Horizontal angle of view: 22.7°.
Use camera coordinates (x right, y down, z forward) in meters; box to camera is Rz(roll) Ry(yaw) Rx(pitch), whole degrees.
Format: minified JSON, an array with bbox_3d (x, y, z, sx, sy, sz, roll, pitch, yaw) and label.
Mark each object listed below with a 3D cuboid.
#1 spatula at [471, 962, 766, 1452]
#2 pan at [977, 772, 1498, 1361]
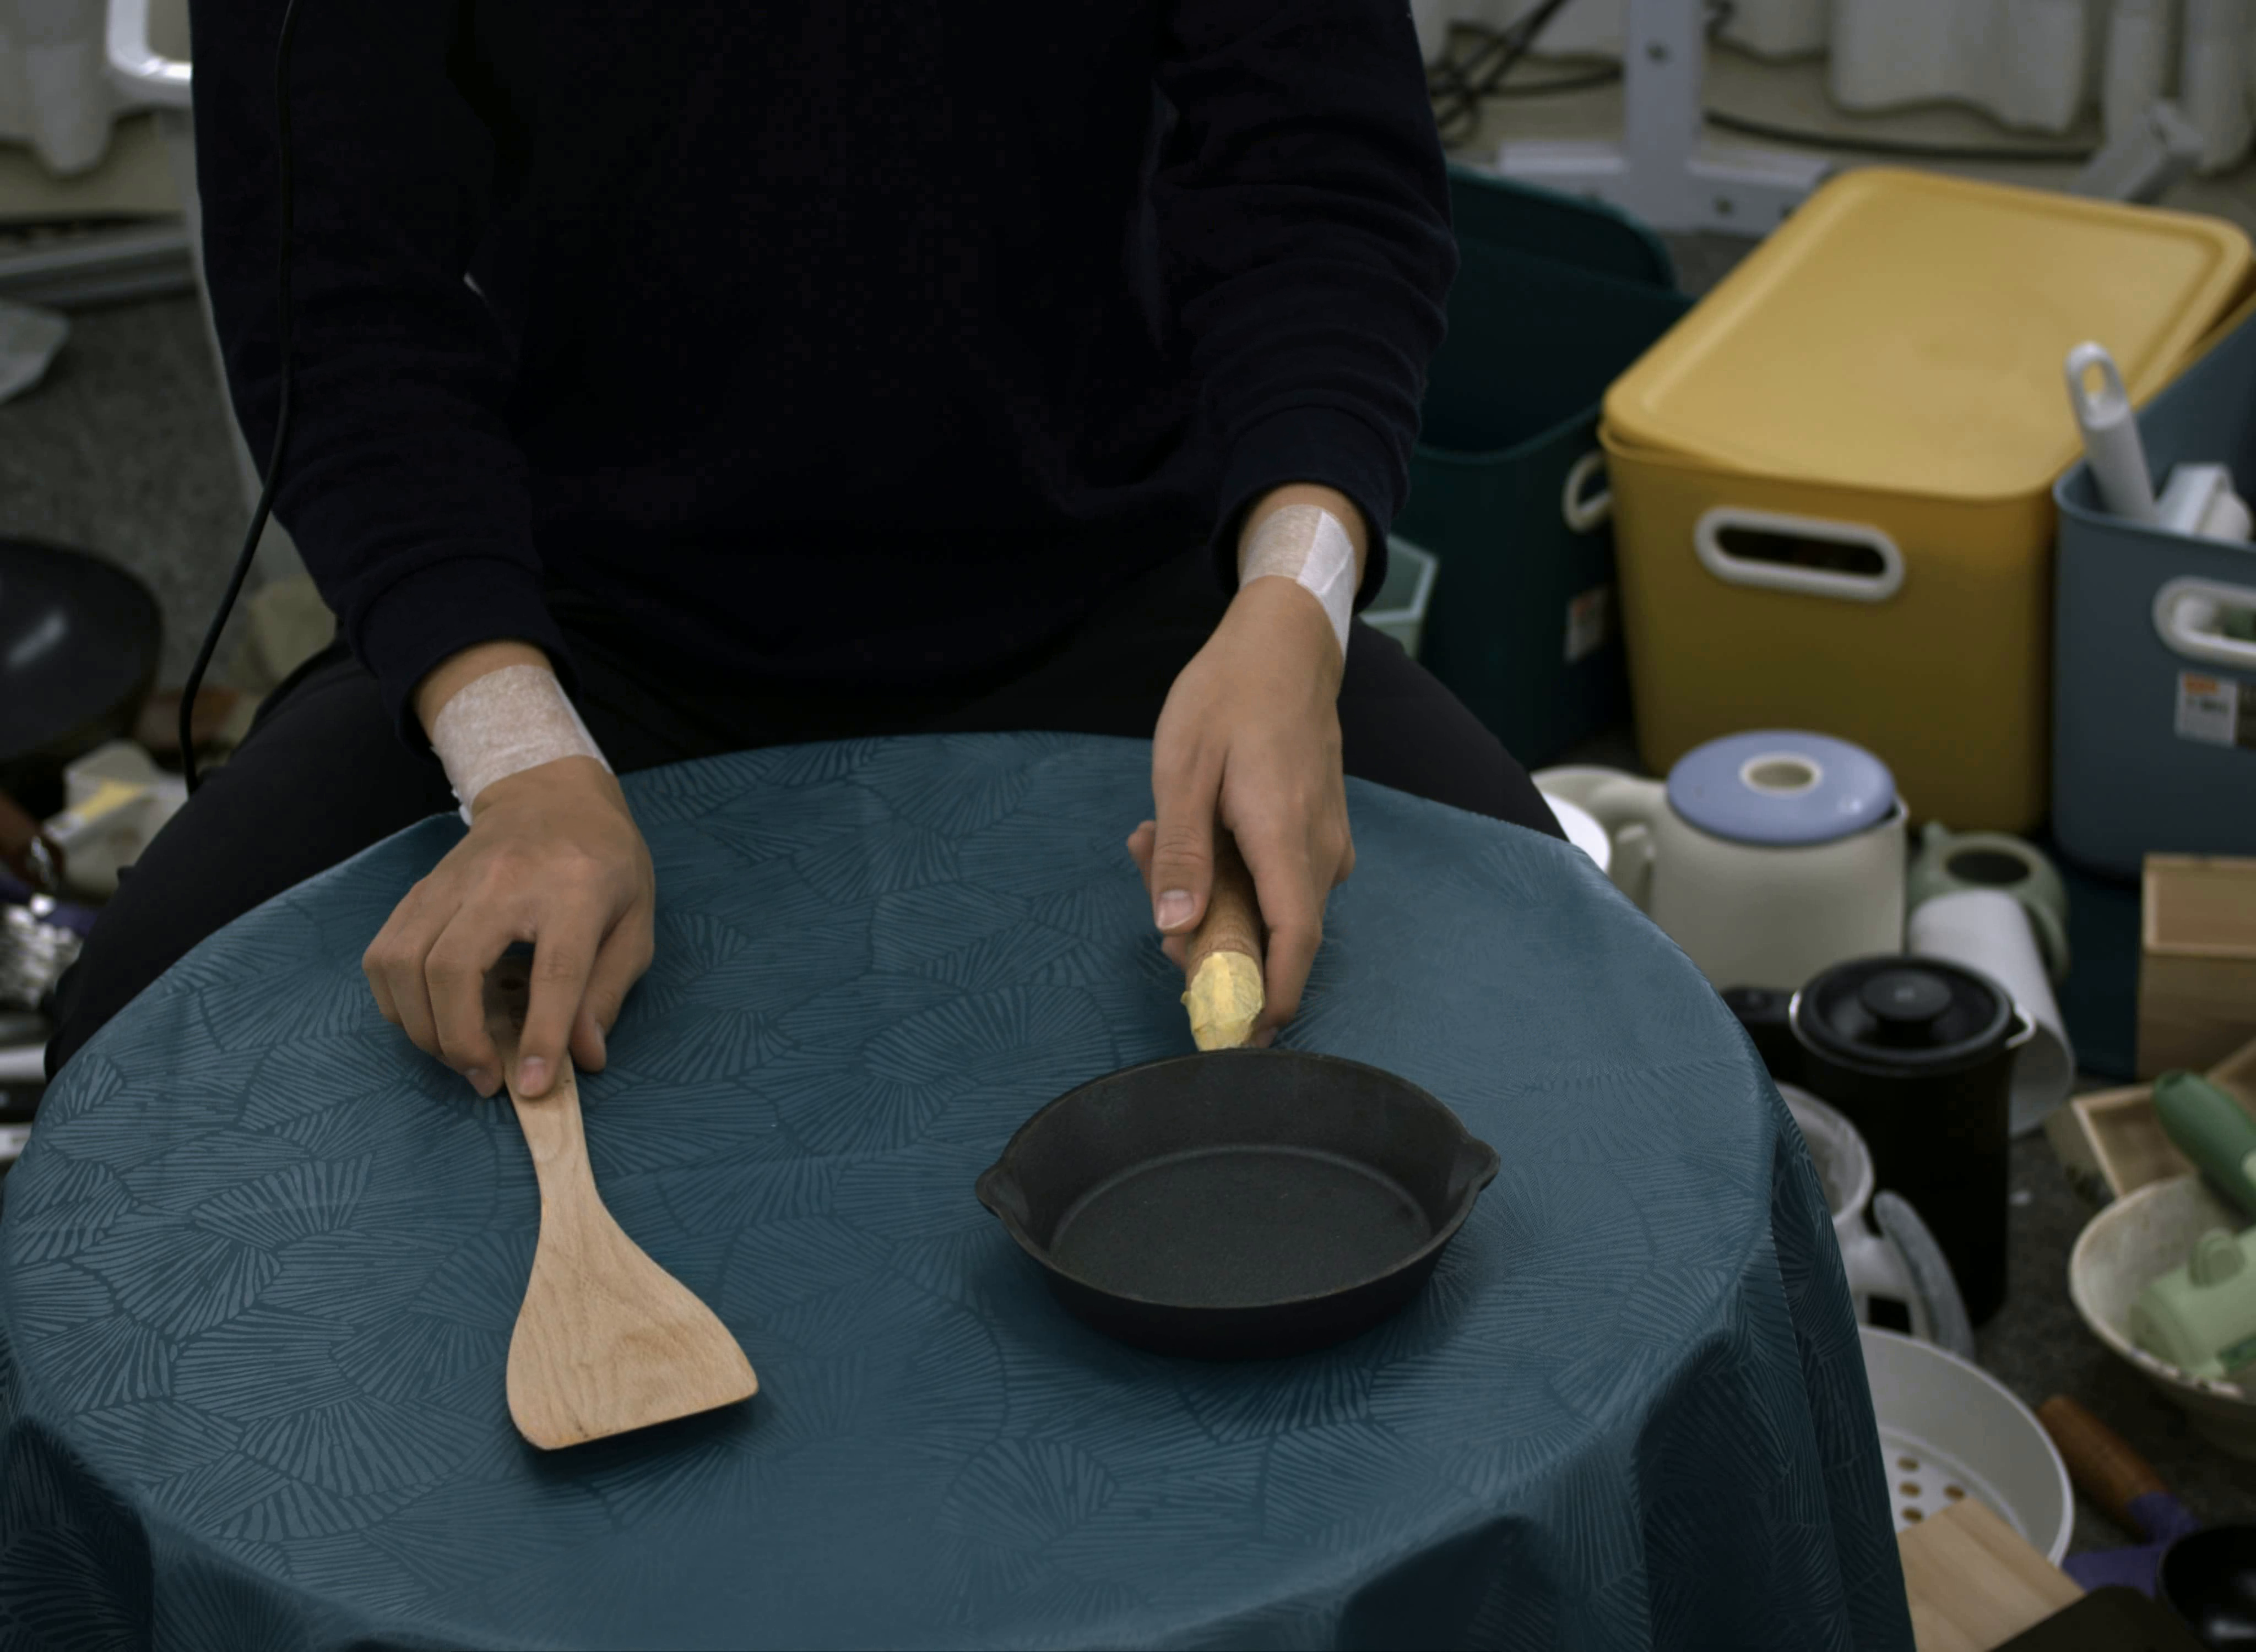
[{"bbox_3d":[-0.184,0.120,1.866,0.080,0.016,0.331,-8,28,-11],"label":"spatula"},{"bbox_3d":[0.037,0.078,1.888,0.168,0.049,0.329,-2,29,2],"label":"pan"}]
